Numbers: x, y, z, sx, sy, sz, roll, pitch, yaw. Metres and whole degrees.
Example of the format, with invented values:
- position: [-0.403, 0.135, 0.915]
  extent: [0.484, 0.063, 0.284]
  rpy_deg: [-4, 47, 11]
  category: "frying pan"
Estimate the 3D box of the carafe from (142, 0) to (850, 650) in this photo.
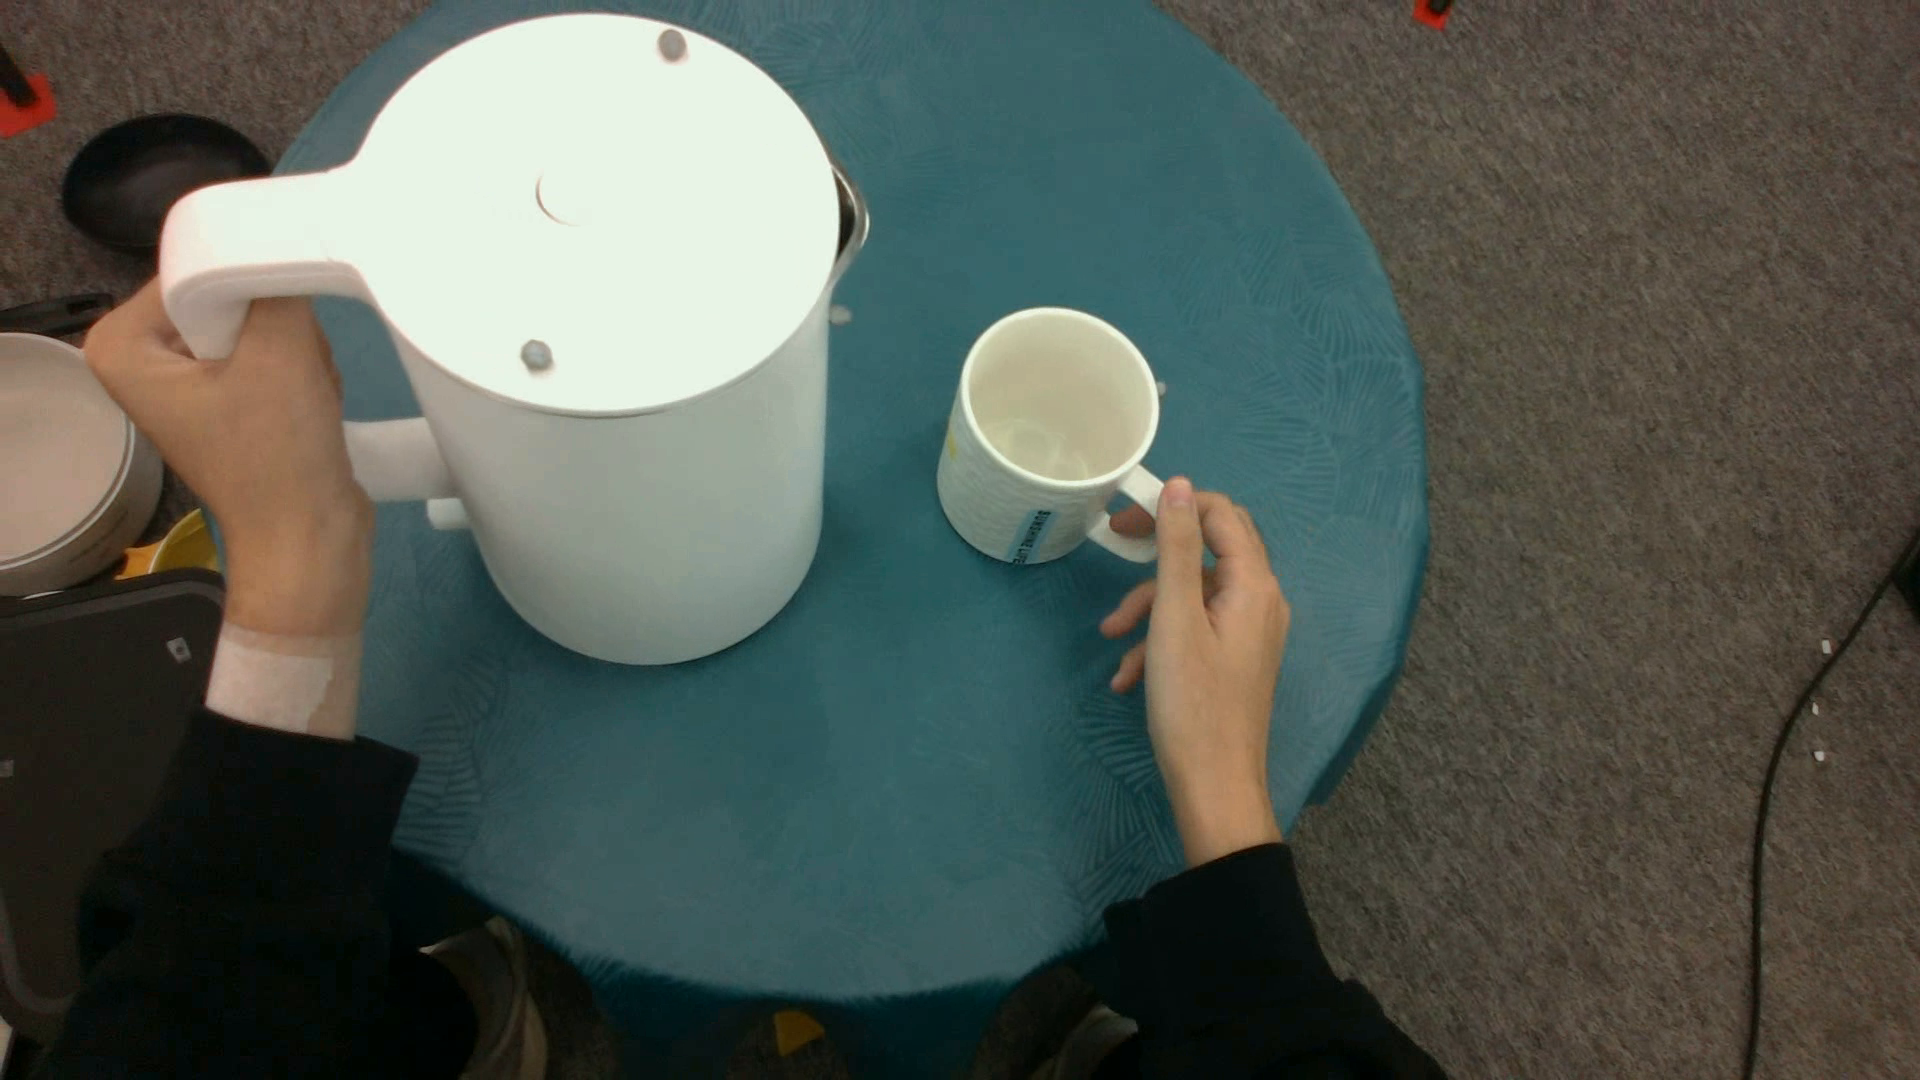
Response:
- position: [-0.157, -0.065, 0.516]
  extent: [0.213, 0.239, 0.152]
  rpy_deg: [-5, 68, -13]
  category: "carafe"

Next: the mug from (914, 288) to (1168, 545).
- position: [0.039, -0.042, 0.626]
  extent: [0.118, 0.101, 0.085]
  rpy_deg: [38, 68, 6]
  category: "mug"
